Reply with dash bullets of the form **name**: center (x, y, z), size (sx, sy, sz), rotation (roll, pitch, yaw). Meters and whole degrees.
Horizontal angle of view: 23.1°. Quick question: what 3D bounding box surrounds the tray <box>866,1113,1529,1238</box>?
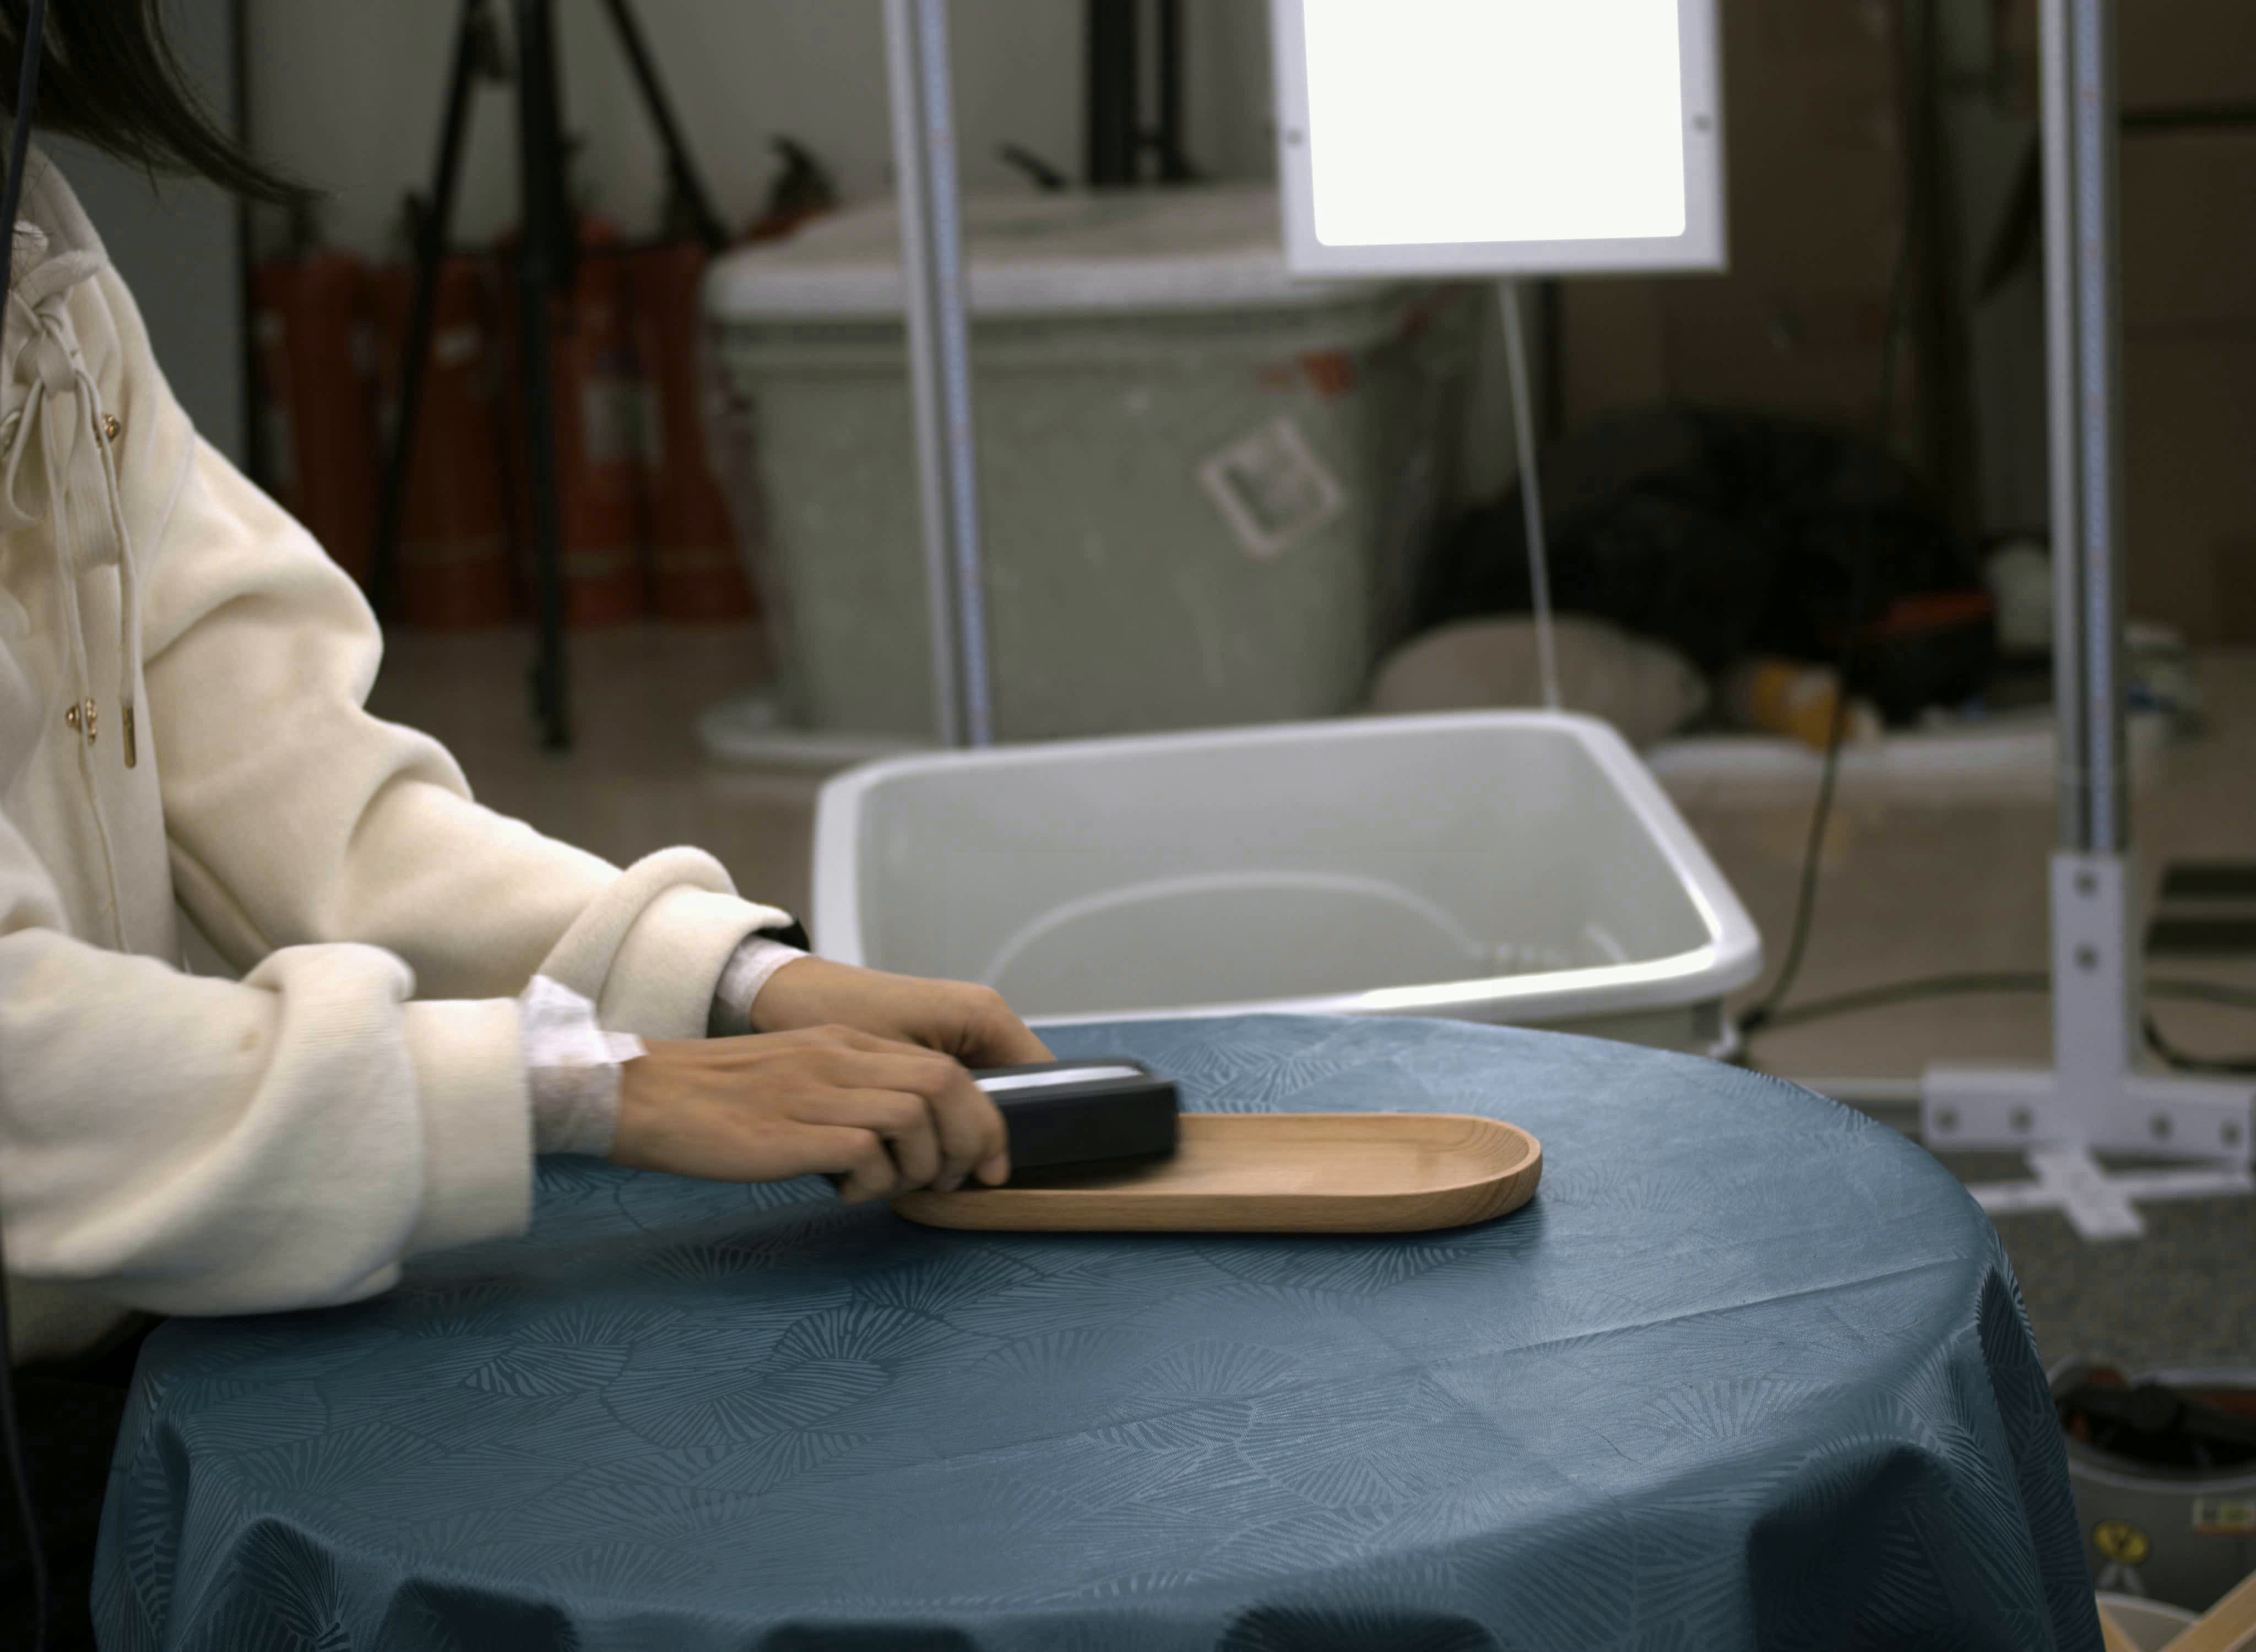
- **tray**: center (0.023, 0.120, 1.882), size (0.233, 0.020, 0.100), rotation (-3, 11, 16)

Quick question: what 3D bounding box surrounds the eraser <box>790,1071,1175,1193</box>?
- **eraser**: center (-0.049, 0.104, 1.889), size (0.123, 0.030, 0.054), rotation (-4, 6, -20)
